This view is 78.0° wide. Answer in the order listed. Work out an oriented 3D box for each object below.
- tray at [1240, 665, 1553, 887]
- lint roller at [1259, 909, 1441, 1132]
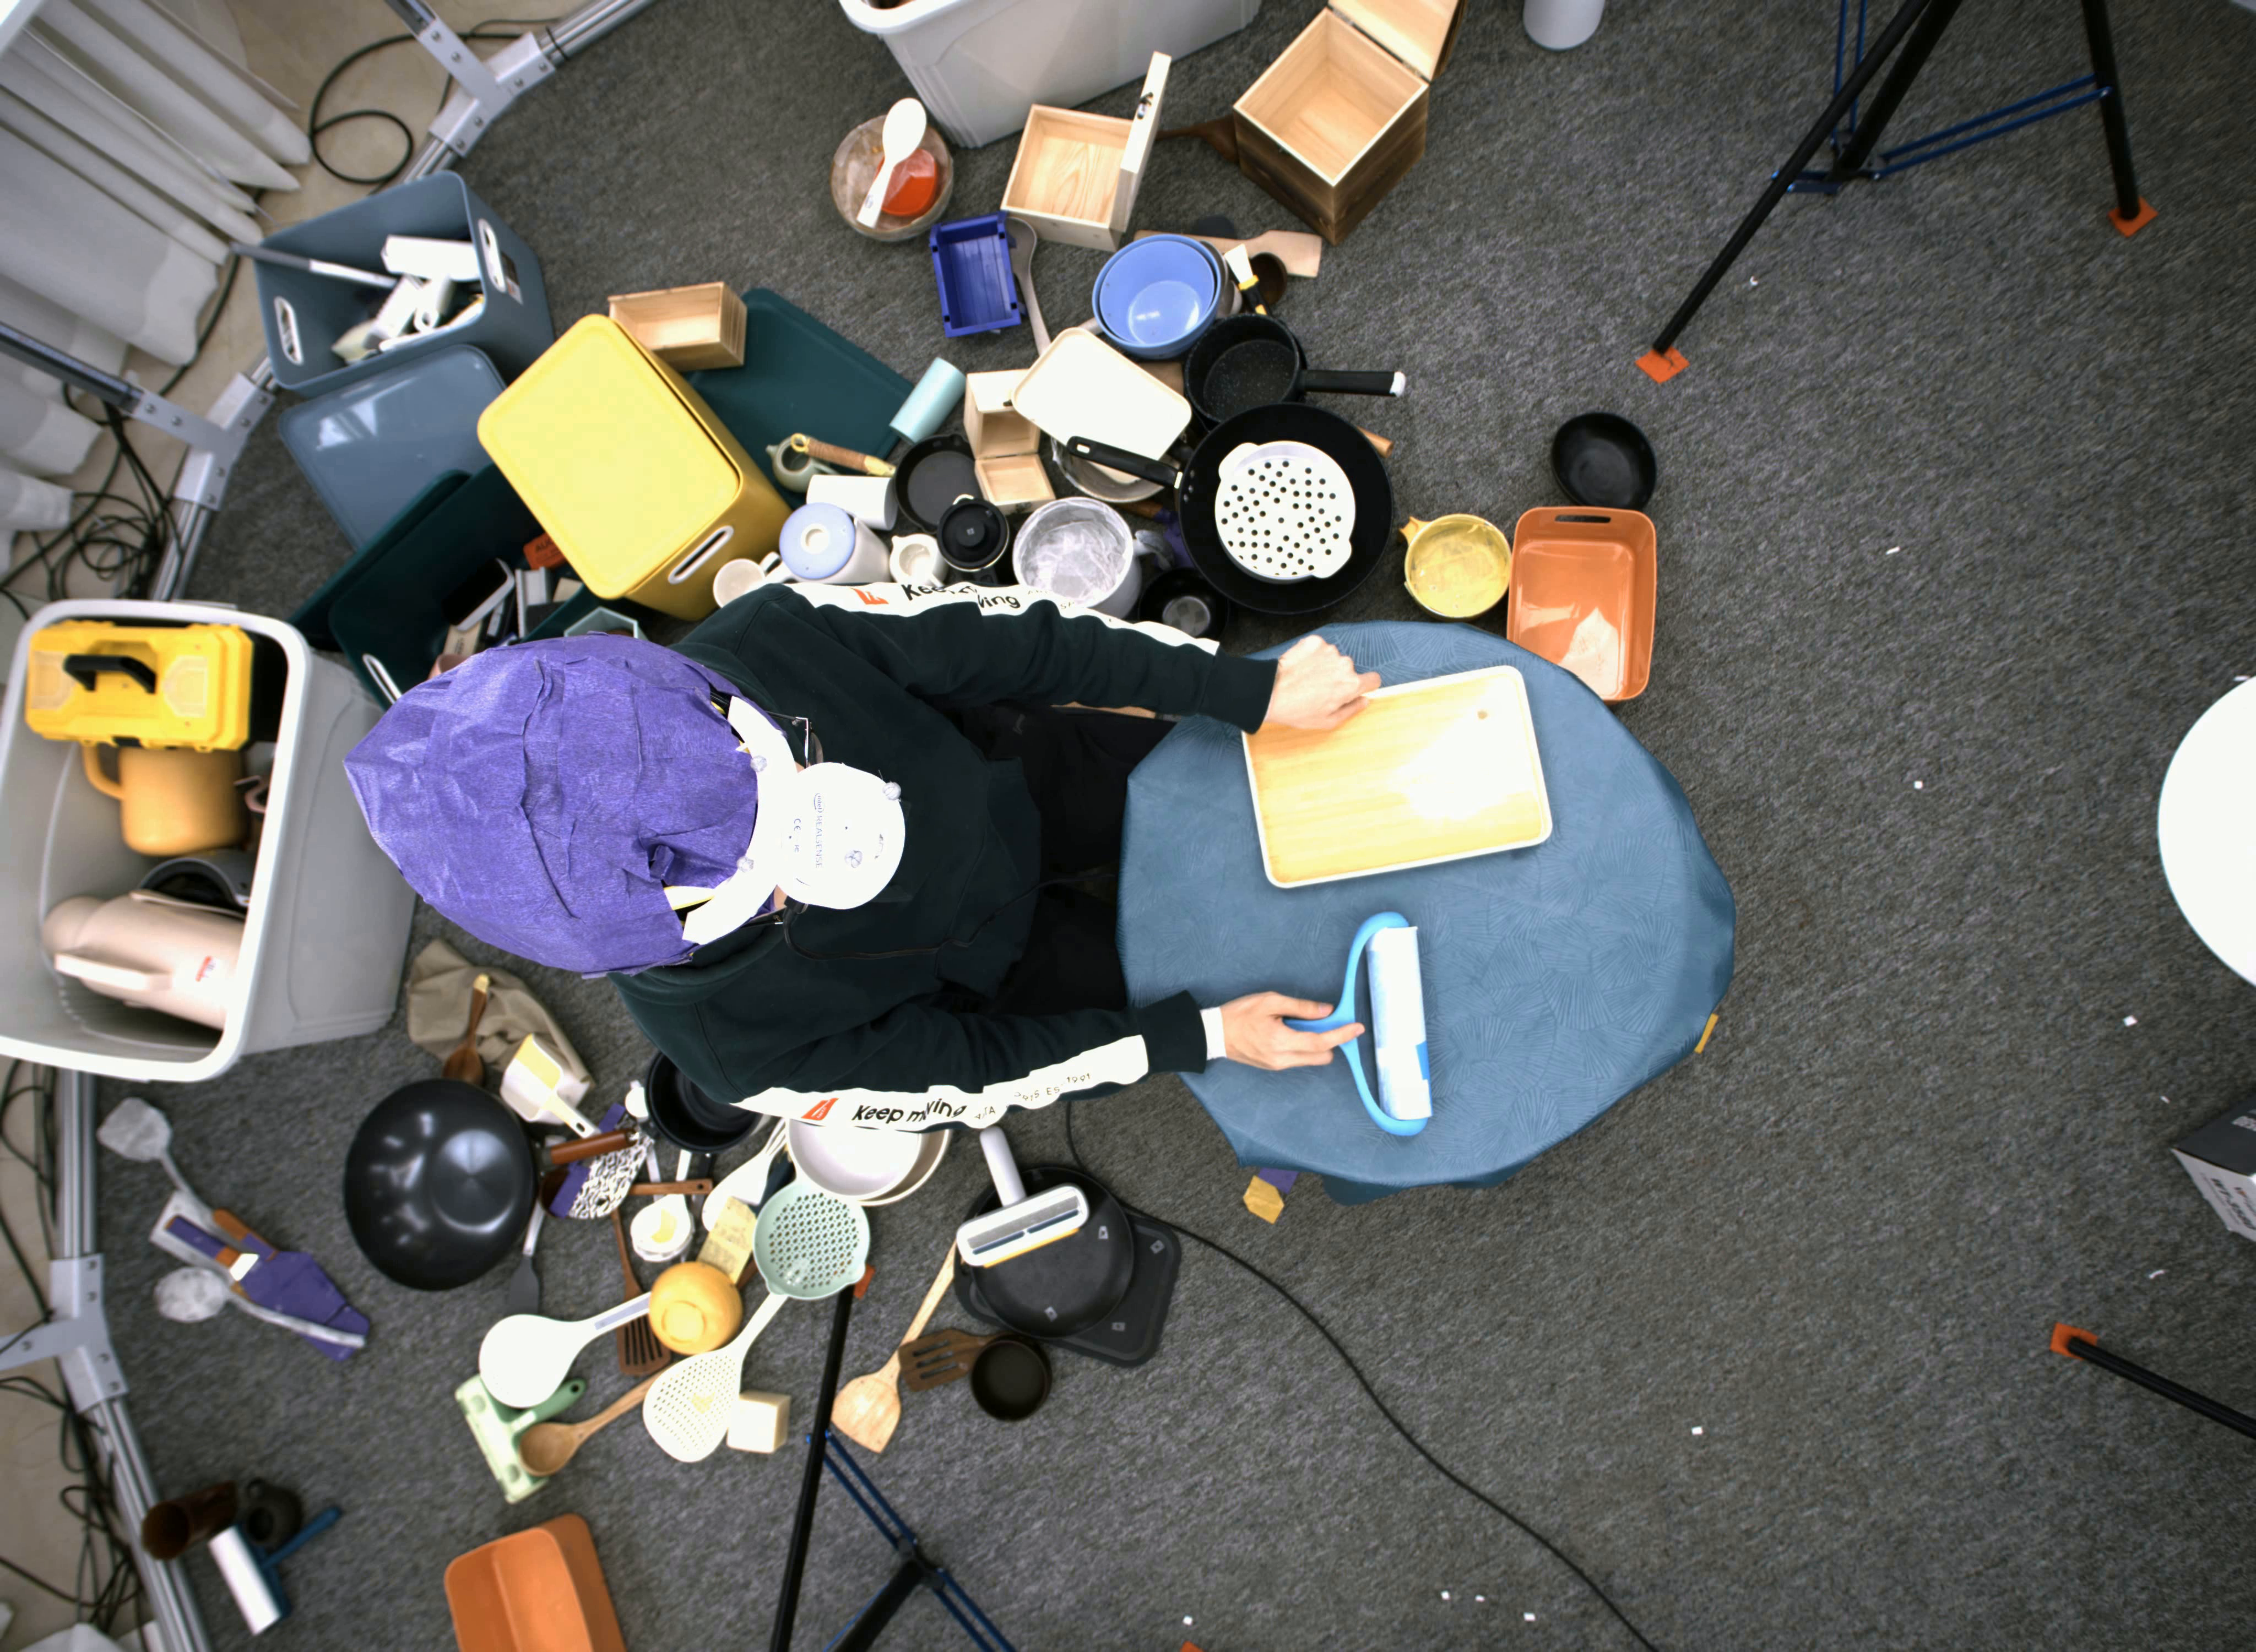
[{"bbox_3d":[0.279,-0.053,1.445,0.302,0.027,0.190,-10,86,10],"label":"tray"},{"bbox_3d":[0.224,0.208,1.429,0.181,0.068,0.228,-10,87,9],"label":"lint roller"}]
